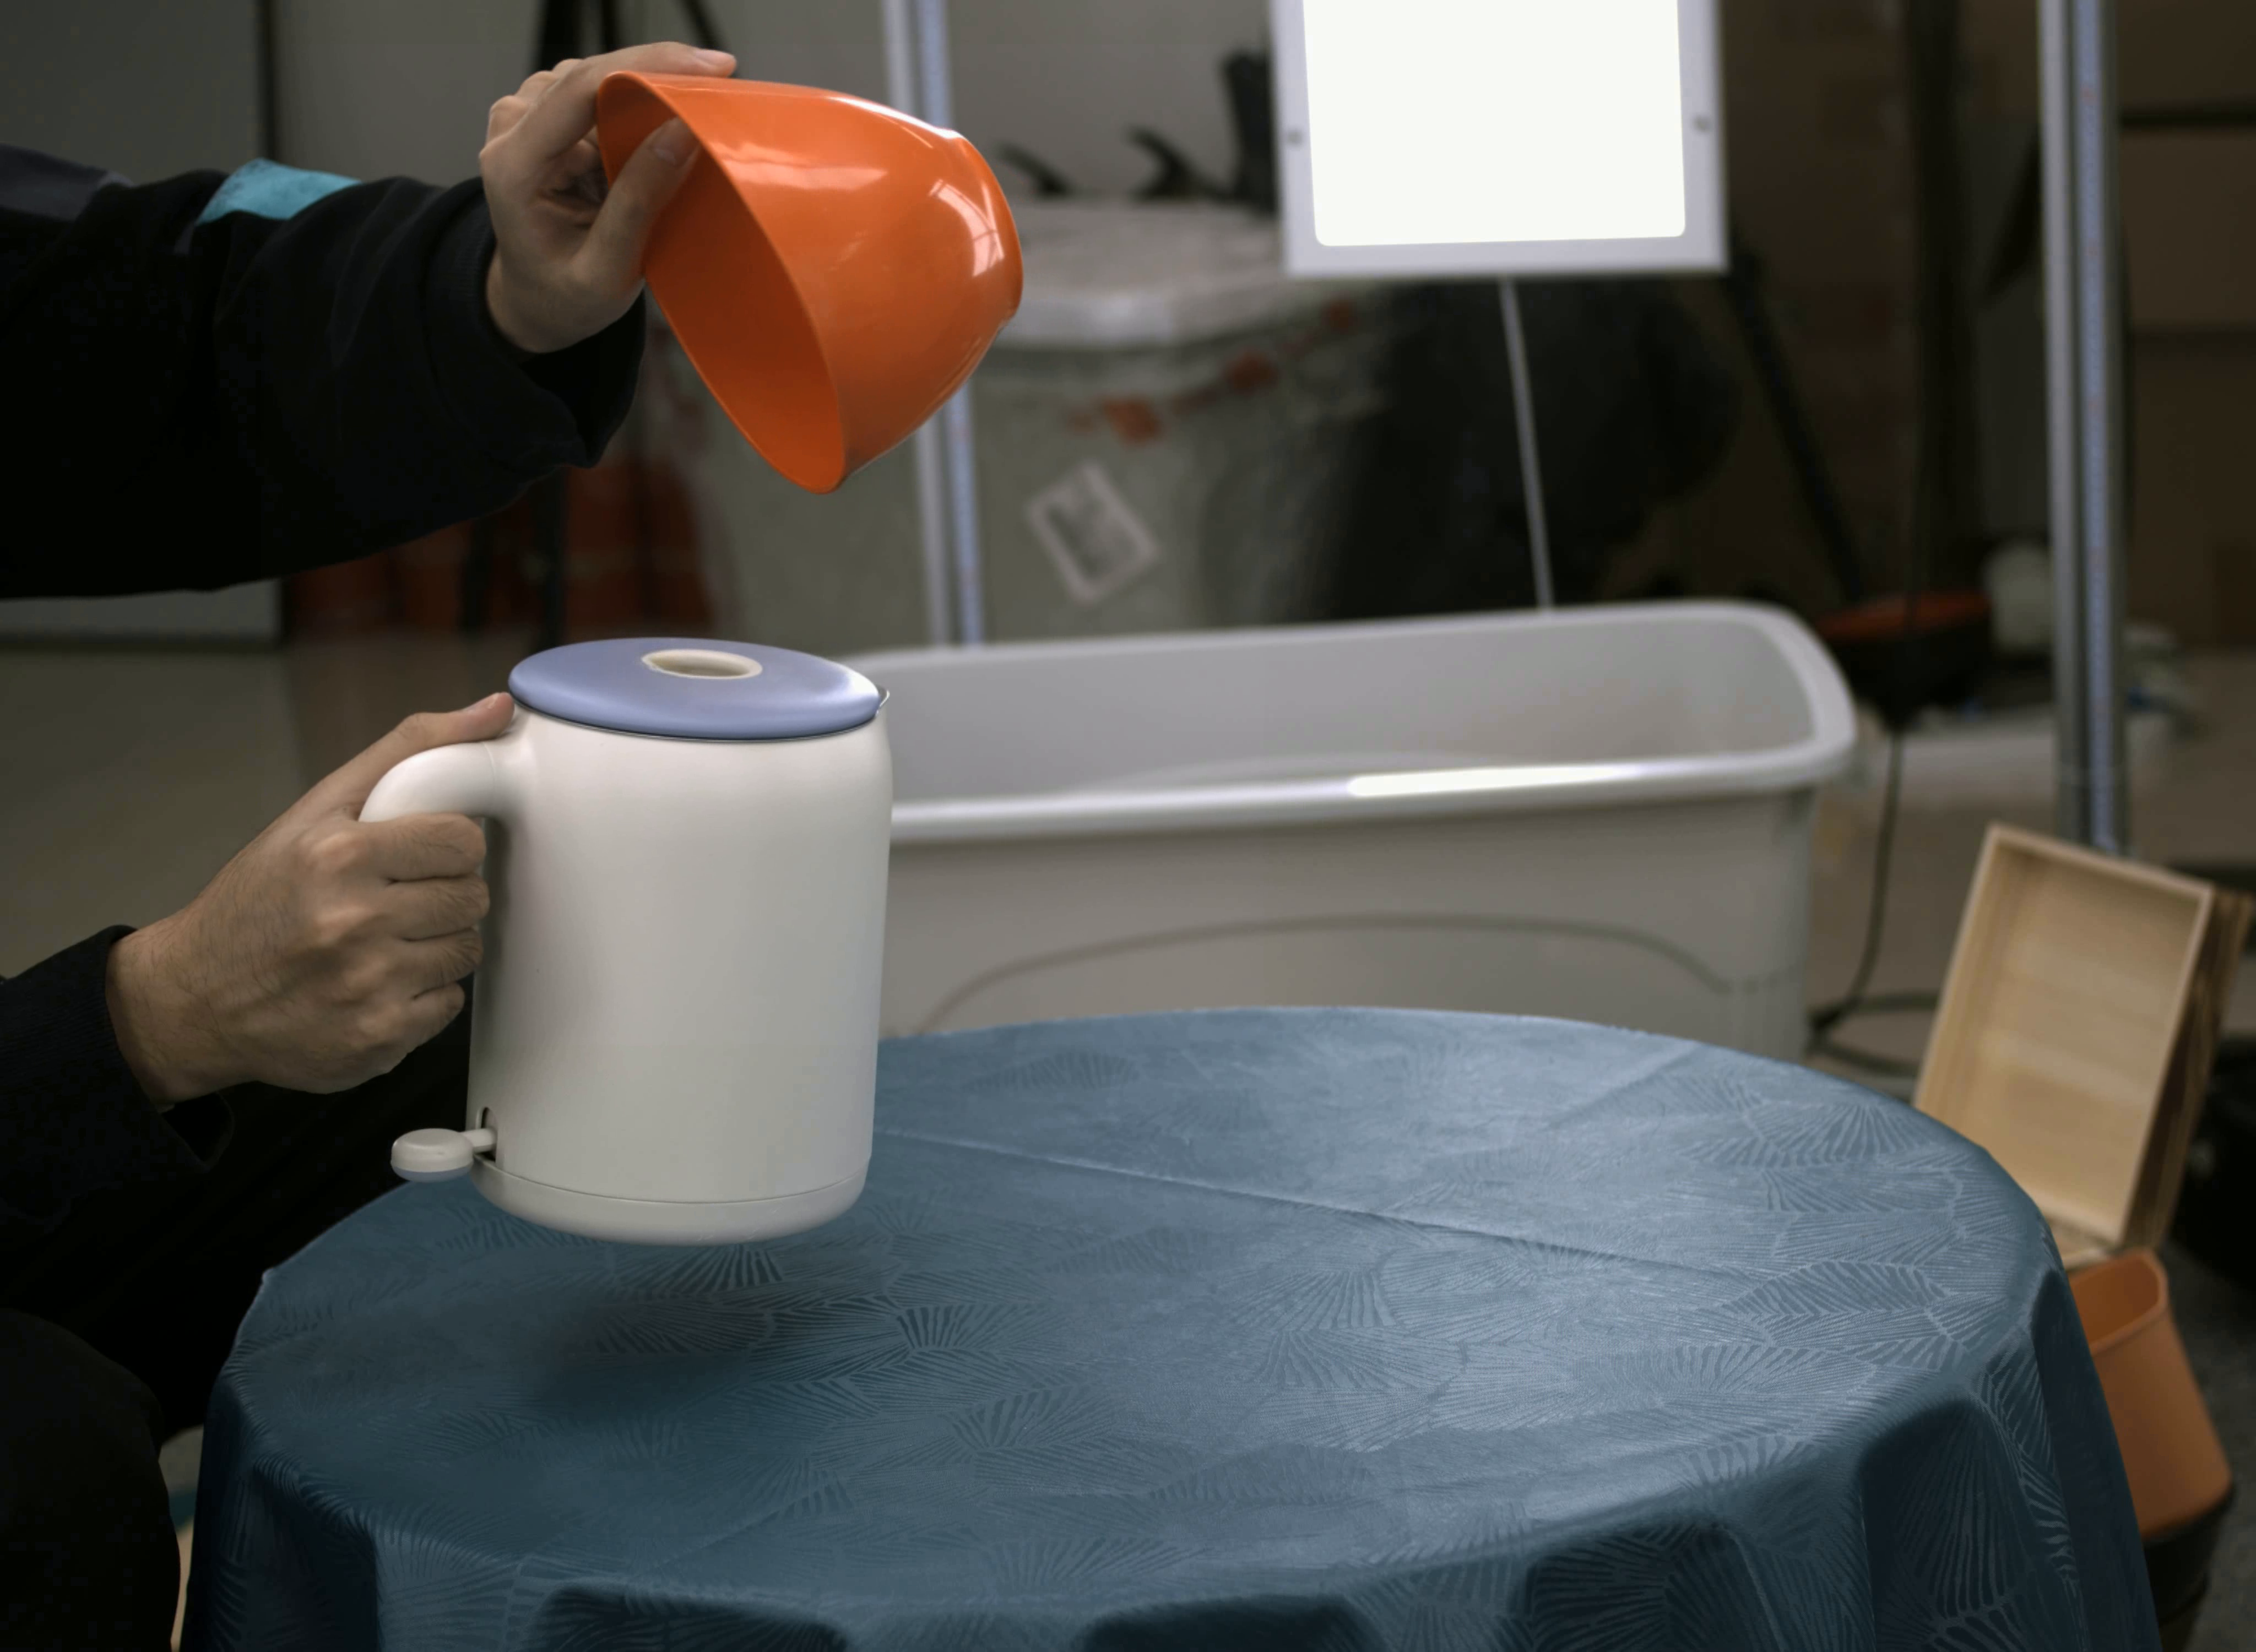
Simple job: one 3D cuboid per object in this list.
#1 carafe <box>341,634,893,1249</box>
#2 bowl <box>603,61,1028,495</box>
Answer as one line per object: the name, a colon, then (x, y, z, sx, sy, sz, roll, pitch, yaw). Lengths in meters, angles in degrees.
carafe: (-0.163, 0.038, 1.752, 0.186, 0.183, 0.134, -7, 16, -30)
bowl: (-0.092, -0.184, 1.743, 0.102, 0.148, 0.150, -21, 19, -23)
